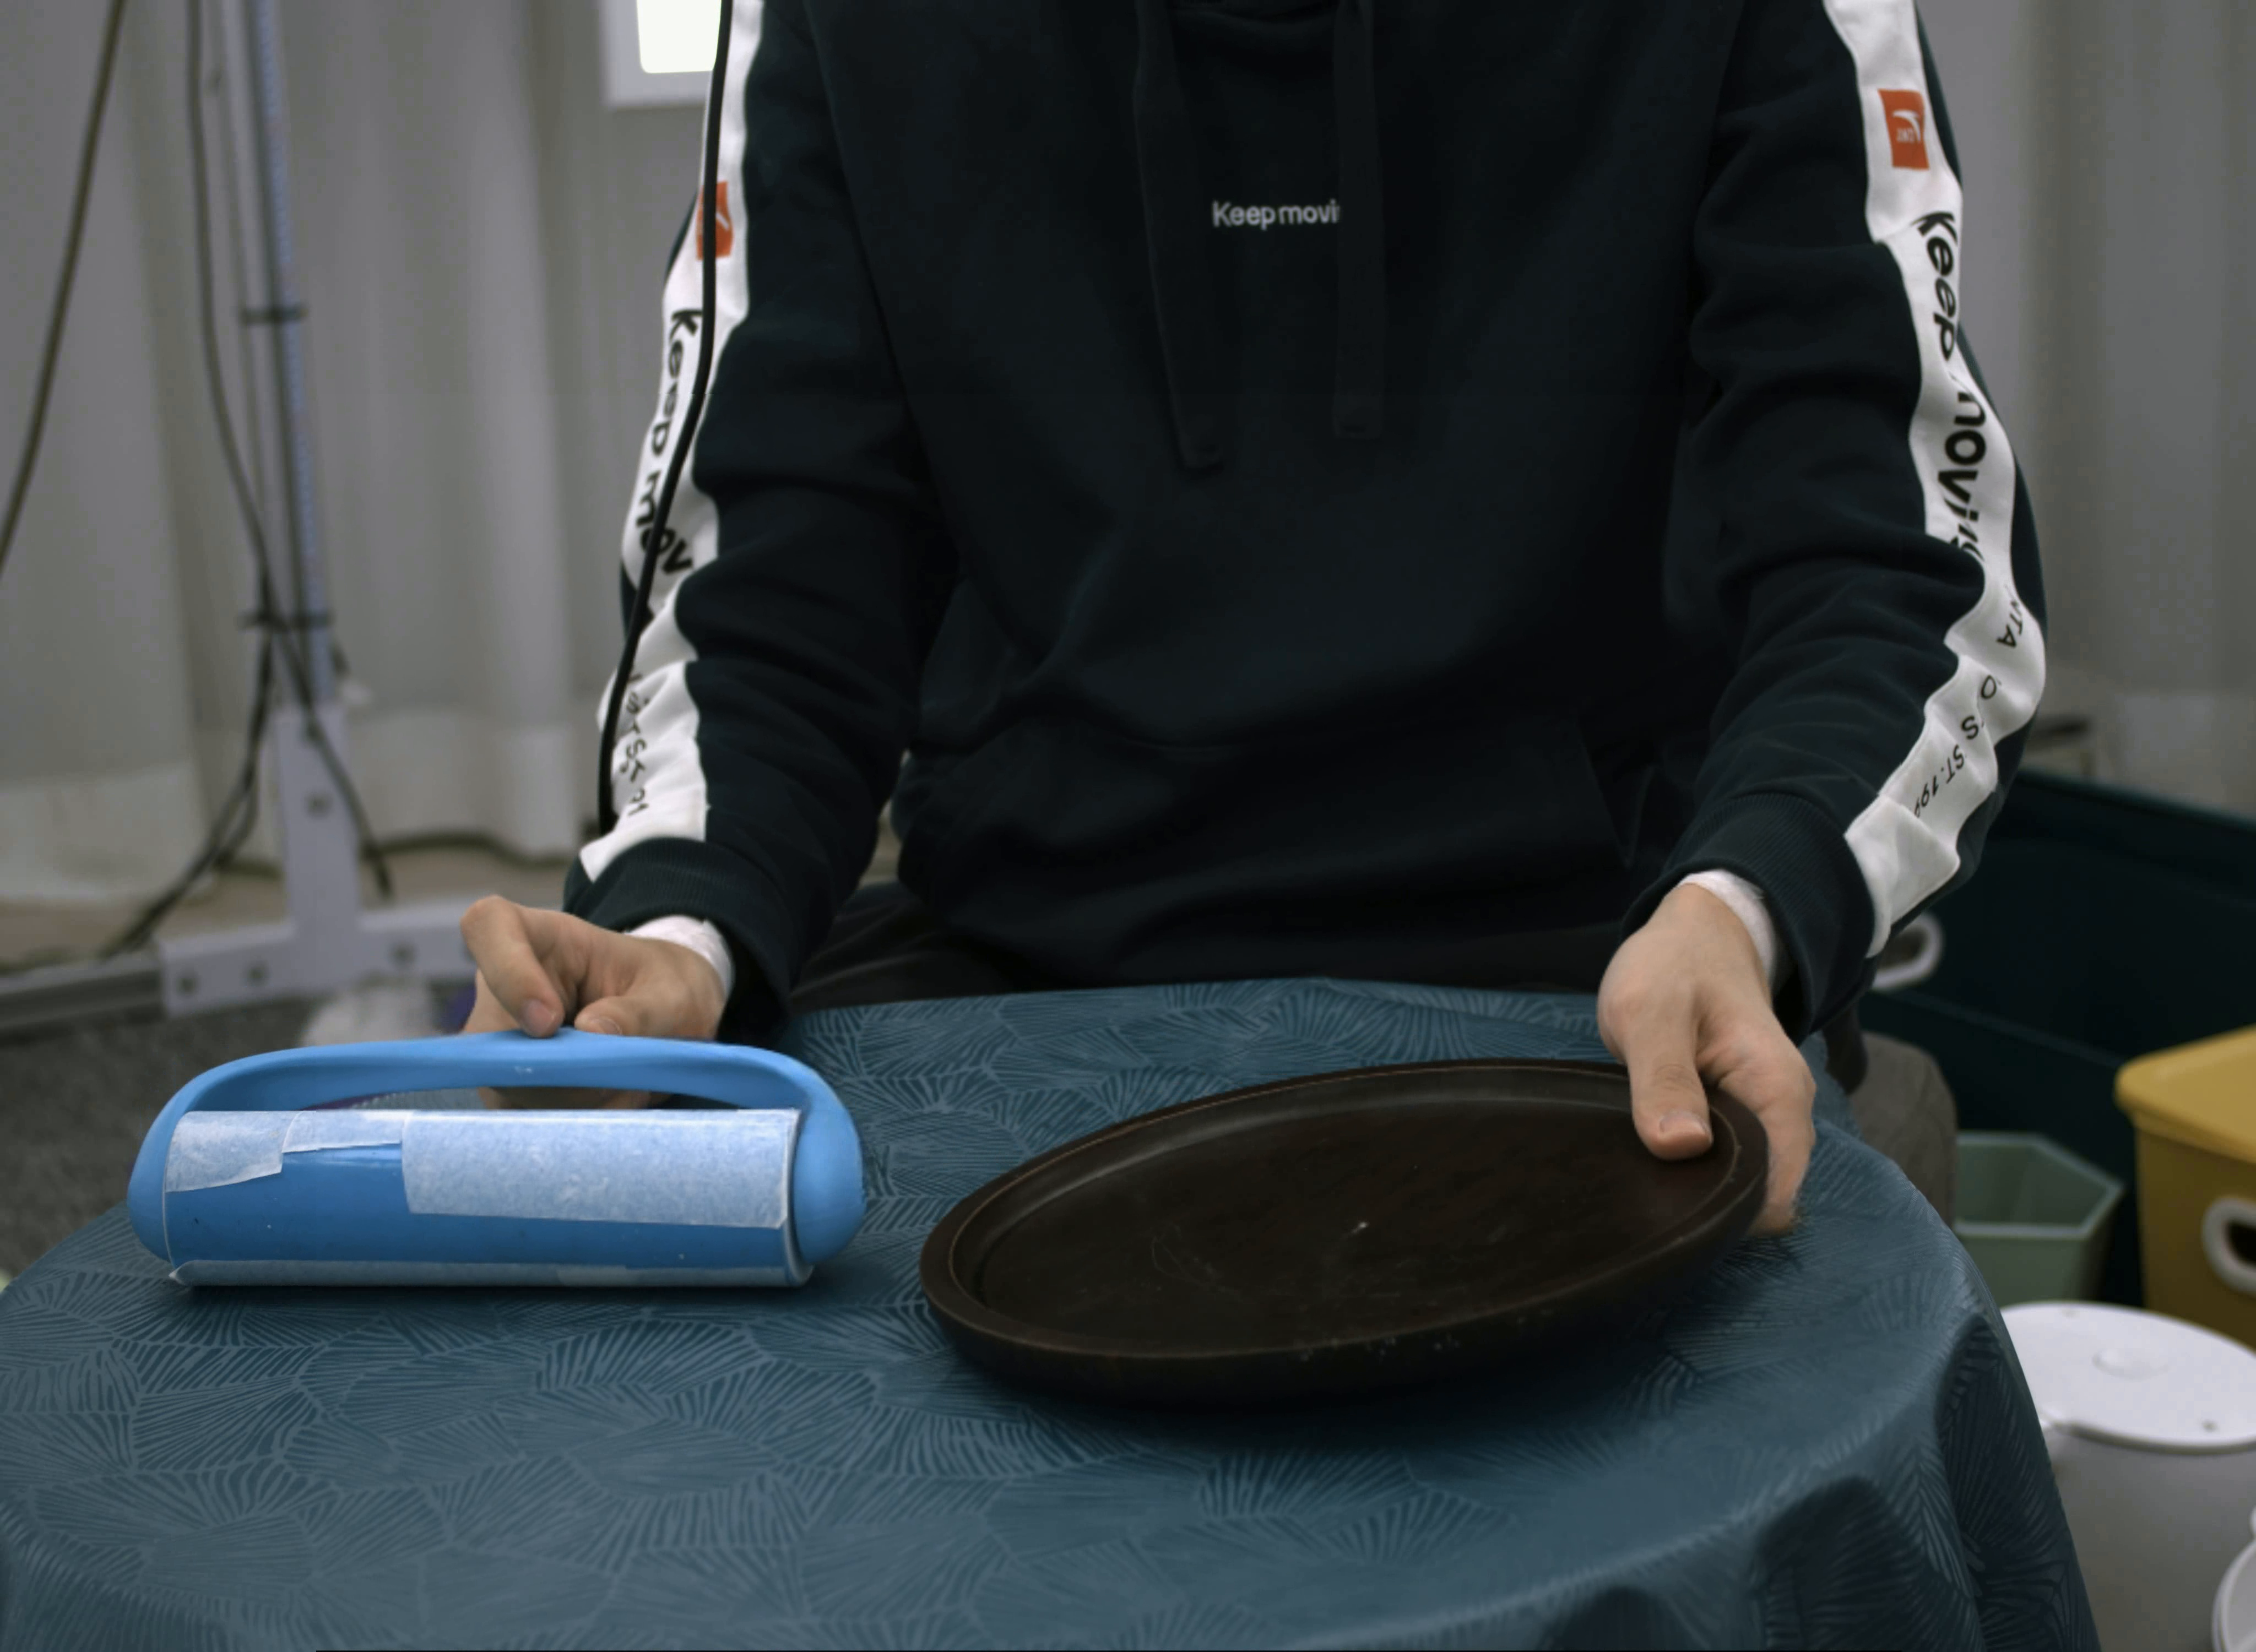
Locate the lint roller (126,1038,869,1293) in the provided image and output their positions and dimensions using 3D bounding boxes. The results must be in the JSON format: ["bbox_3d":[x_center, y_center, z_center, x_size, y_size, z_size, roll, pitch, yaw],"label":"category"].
[{"bbox_3d":[-0.186,0.097,1.710,0.228,0.067,0.181,-3,15,6],"label":"lint roller"}]

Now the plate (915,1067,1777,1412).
[{"bbox_3d":[0.064,0.118,1.599,0.254,0.029,0.256,-9,15,2],"label":"plate"}]
